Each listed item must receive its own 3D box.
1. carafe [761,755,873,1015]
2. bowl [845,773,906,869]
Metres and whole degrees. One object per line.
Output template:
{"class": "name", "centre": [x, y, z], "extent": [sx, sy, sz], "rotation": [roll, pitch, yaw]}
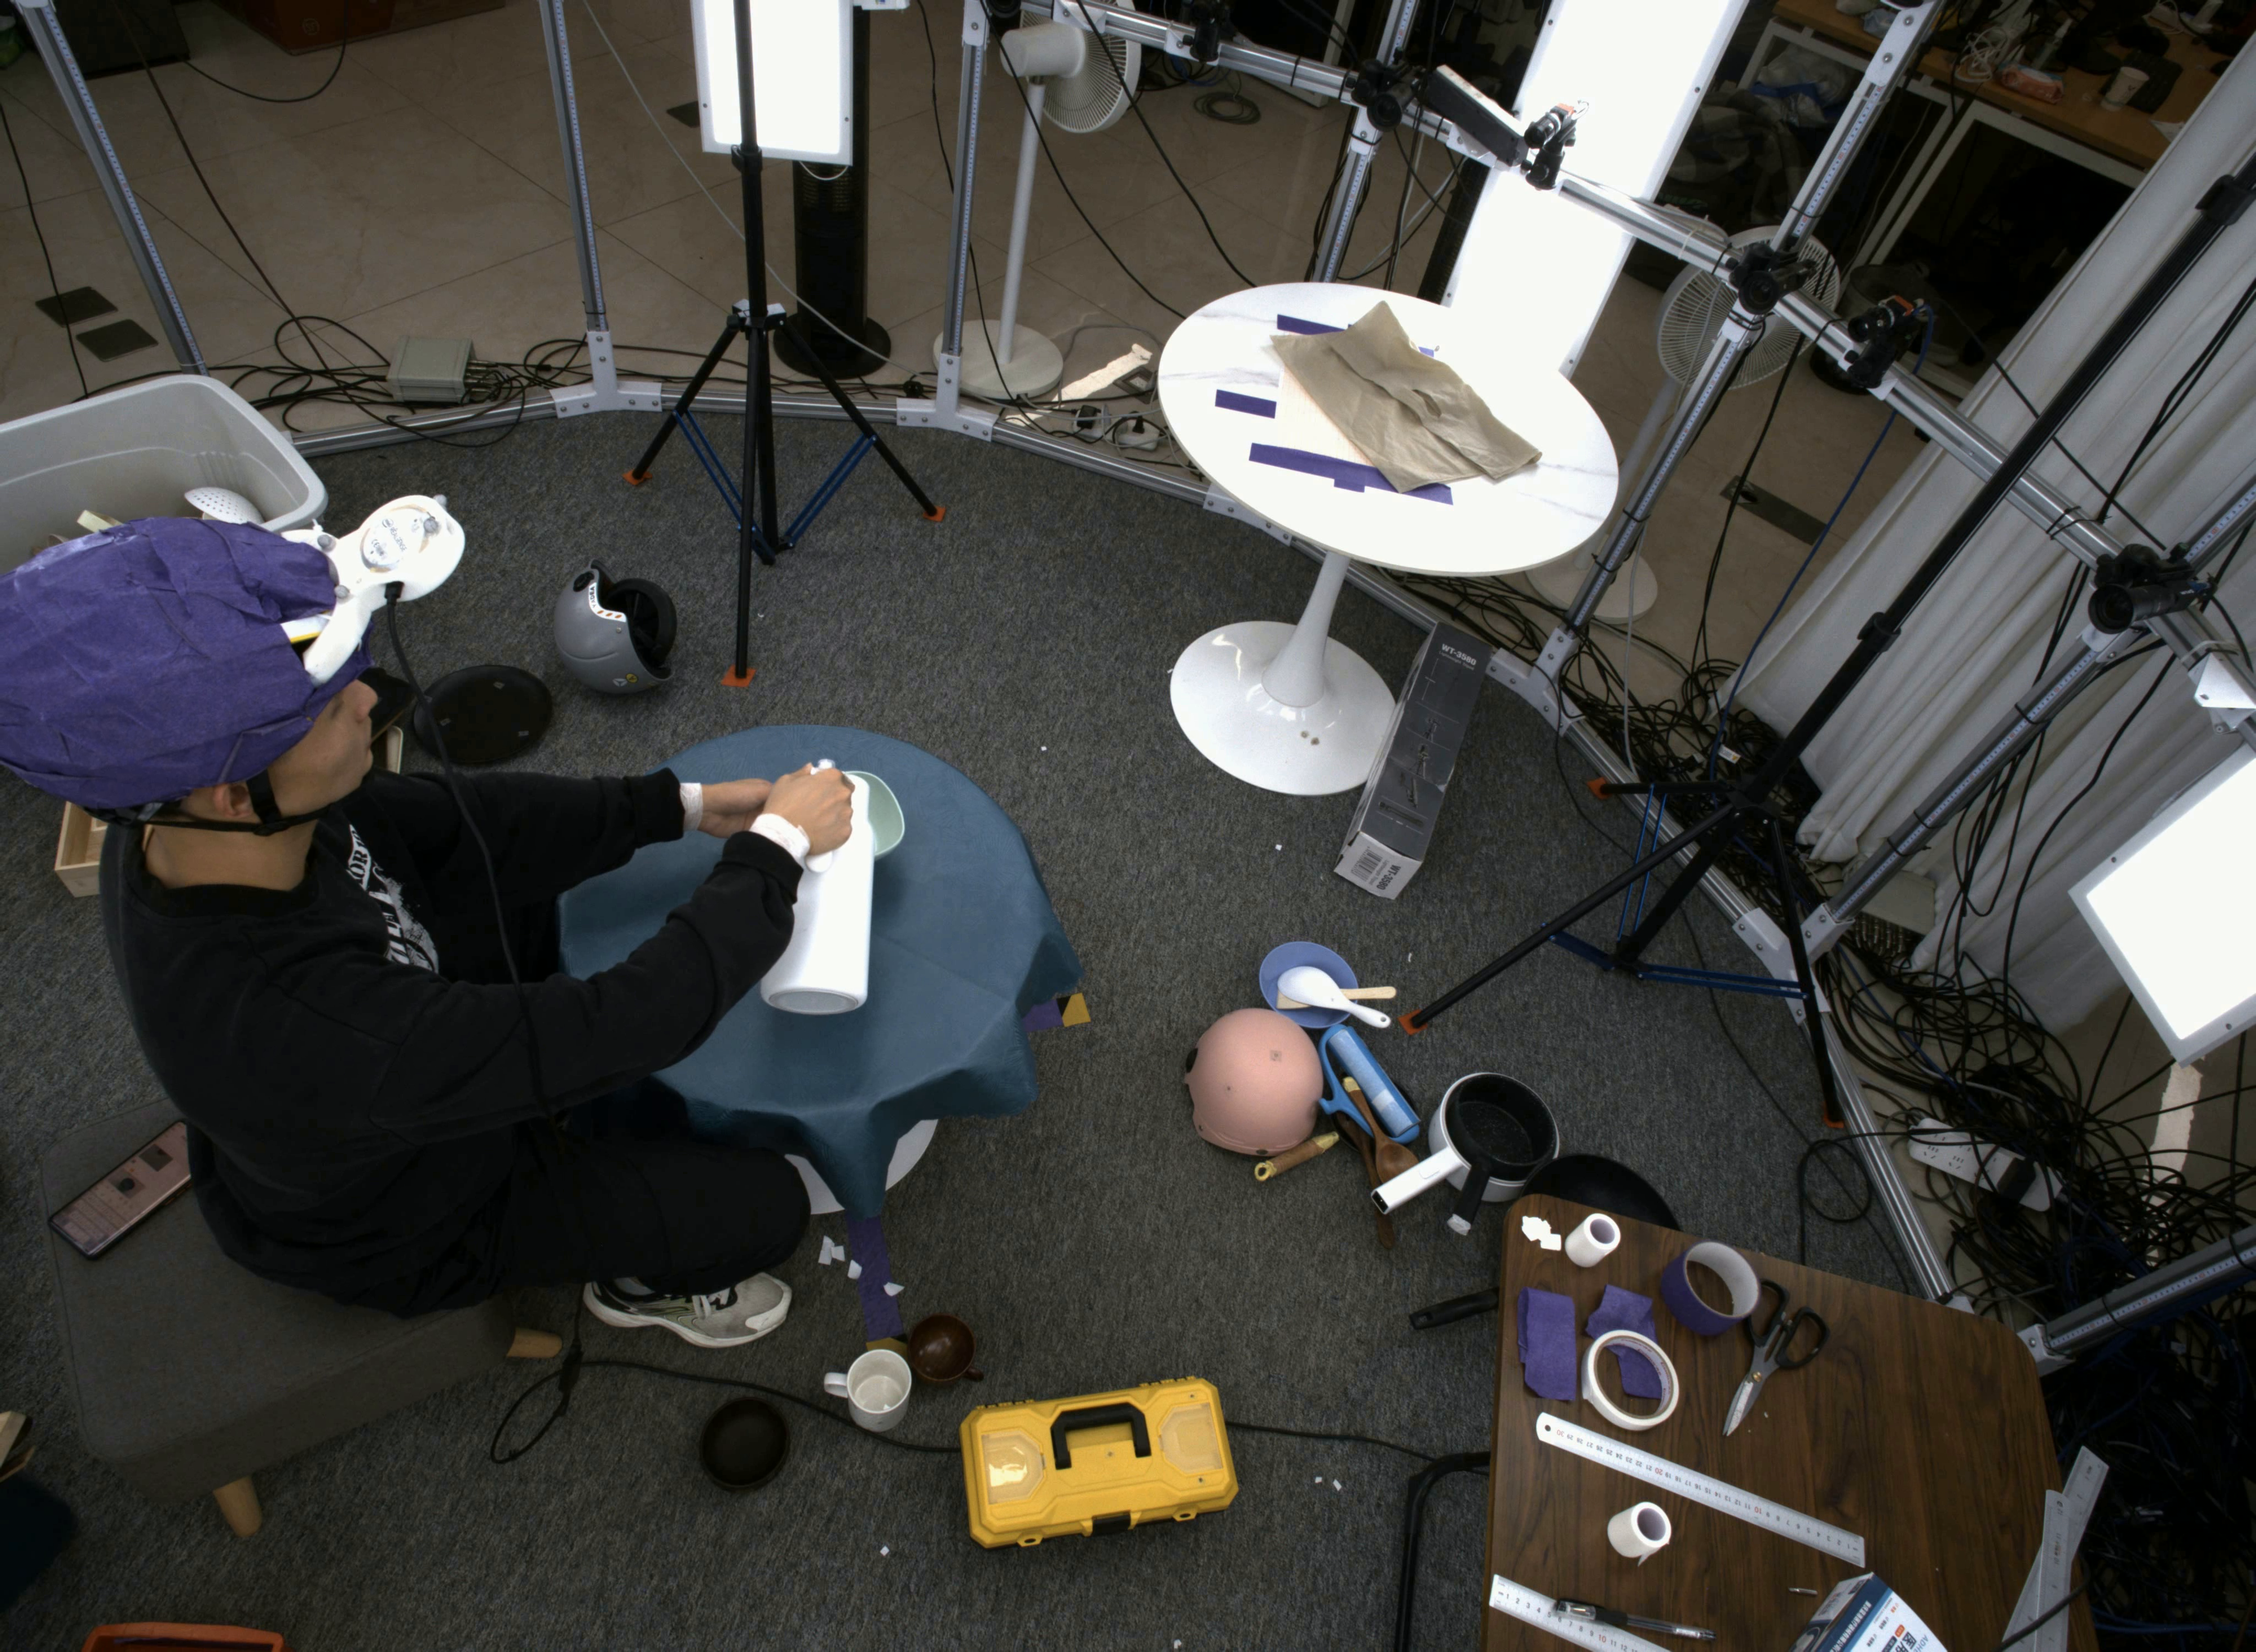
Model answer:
{"class": "carafe", "centre": [-0.347, 0.063, 1.465], "extent": [0.124, 0.174, 0.266], "rotation": [4, 67, -12]}
{"class": "bowl", "centre": [-0.358, 0.008, 1.663], "extent": [0.151, 0.060, 0.149], "rotation": [6, 57, -8]}
